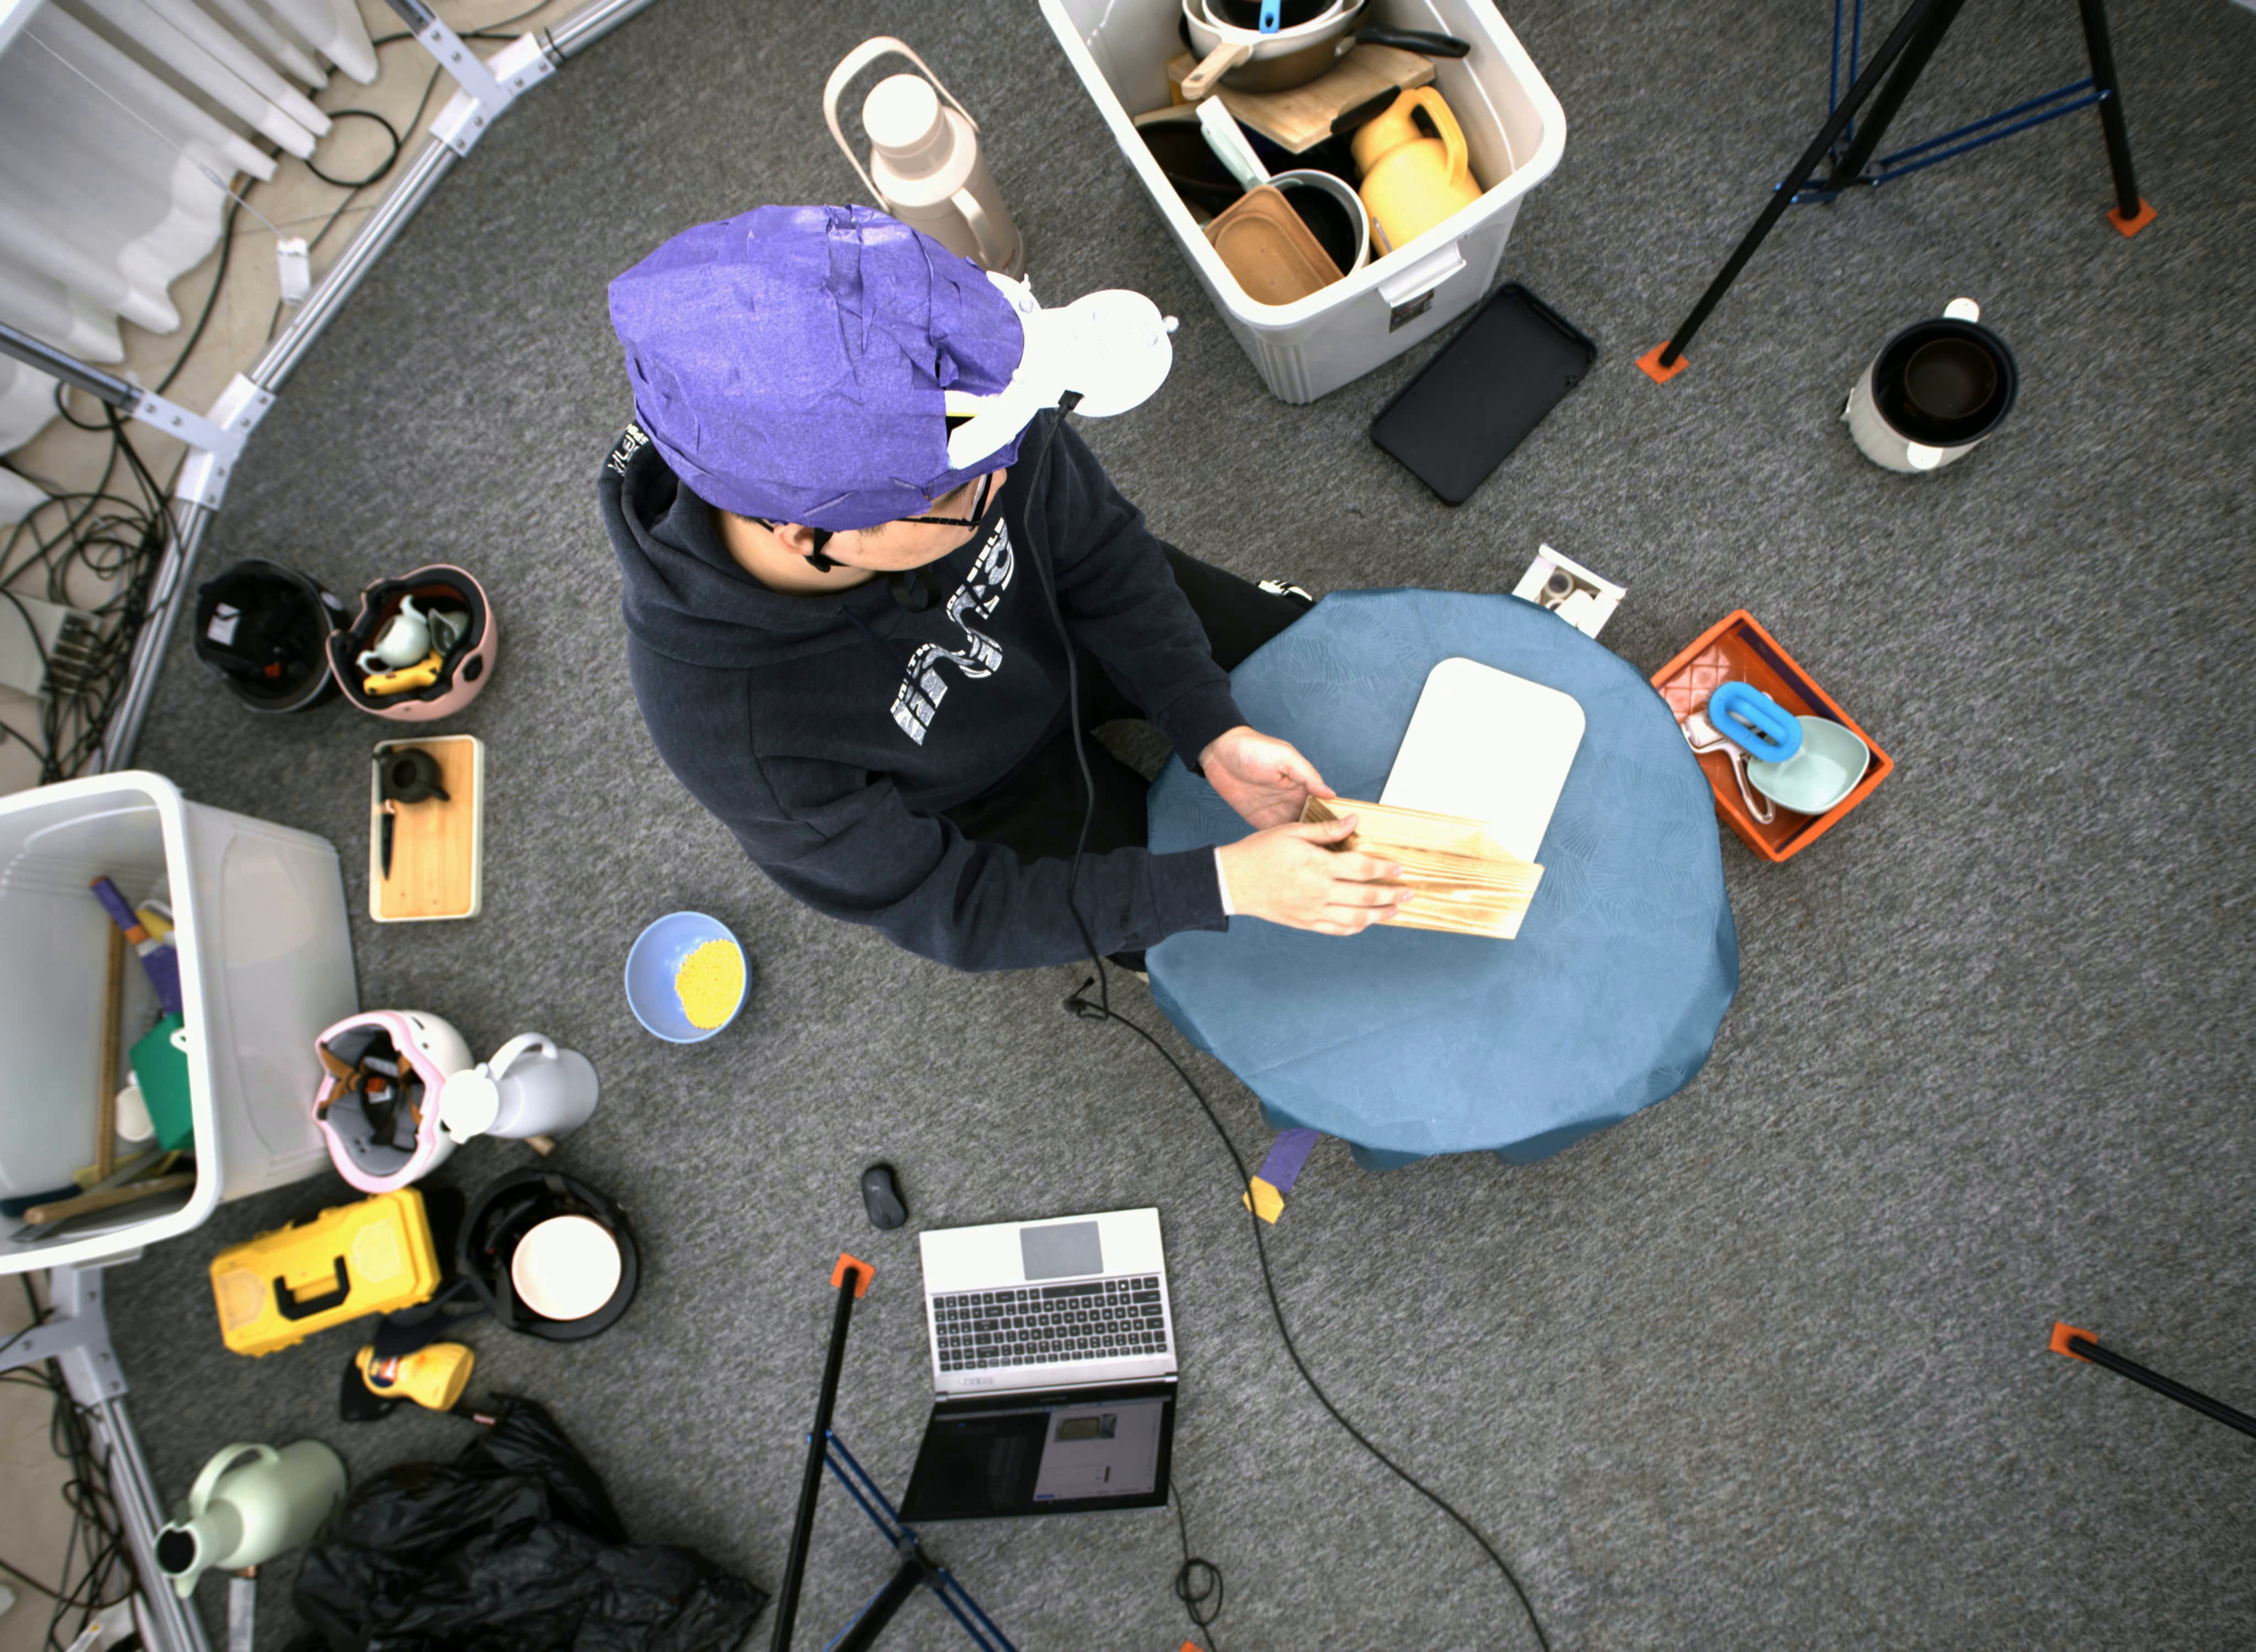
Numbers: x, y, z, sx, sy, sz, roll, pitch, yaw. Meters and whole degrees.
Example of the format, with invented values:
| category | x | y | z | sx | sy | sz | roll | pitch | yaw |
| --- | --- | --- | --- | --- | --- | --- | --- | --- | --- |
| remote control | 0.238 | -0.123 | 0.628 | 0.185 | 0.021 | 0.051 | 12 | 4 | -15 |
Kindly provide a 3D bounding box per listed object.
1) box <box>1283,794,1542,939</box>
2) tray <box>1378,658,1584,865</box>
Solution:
| category | x | y | z | sx | sy | sz | roll | pitch | yaw |
| --- | --- | --- | --- | --- | --- | --- | --- | --- | --- |
| box | 0.270 | 0.038 | 1.319 | 0.211 | 0.106 | 0.082 | 7 | 115 | -23 |
| tray | 0.364 | -0.048 | 1.441 | 0.171 | 0.017 | 0.239 | 22 | 91 | 12 |
